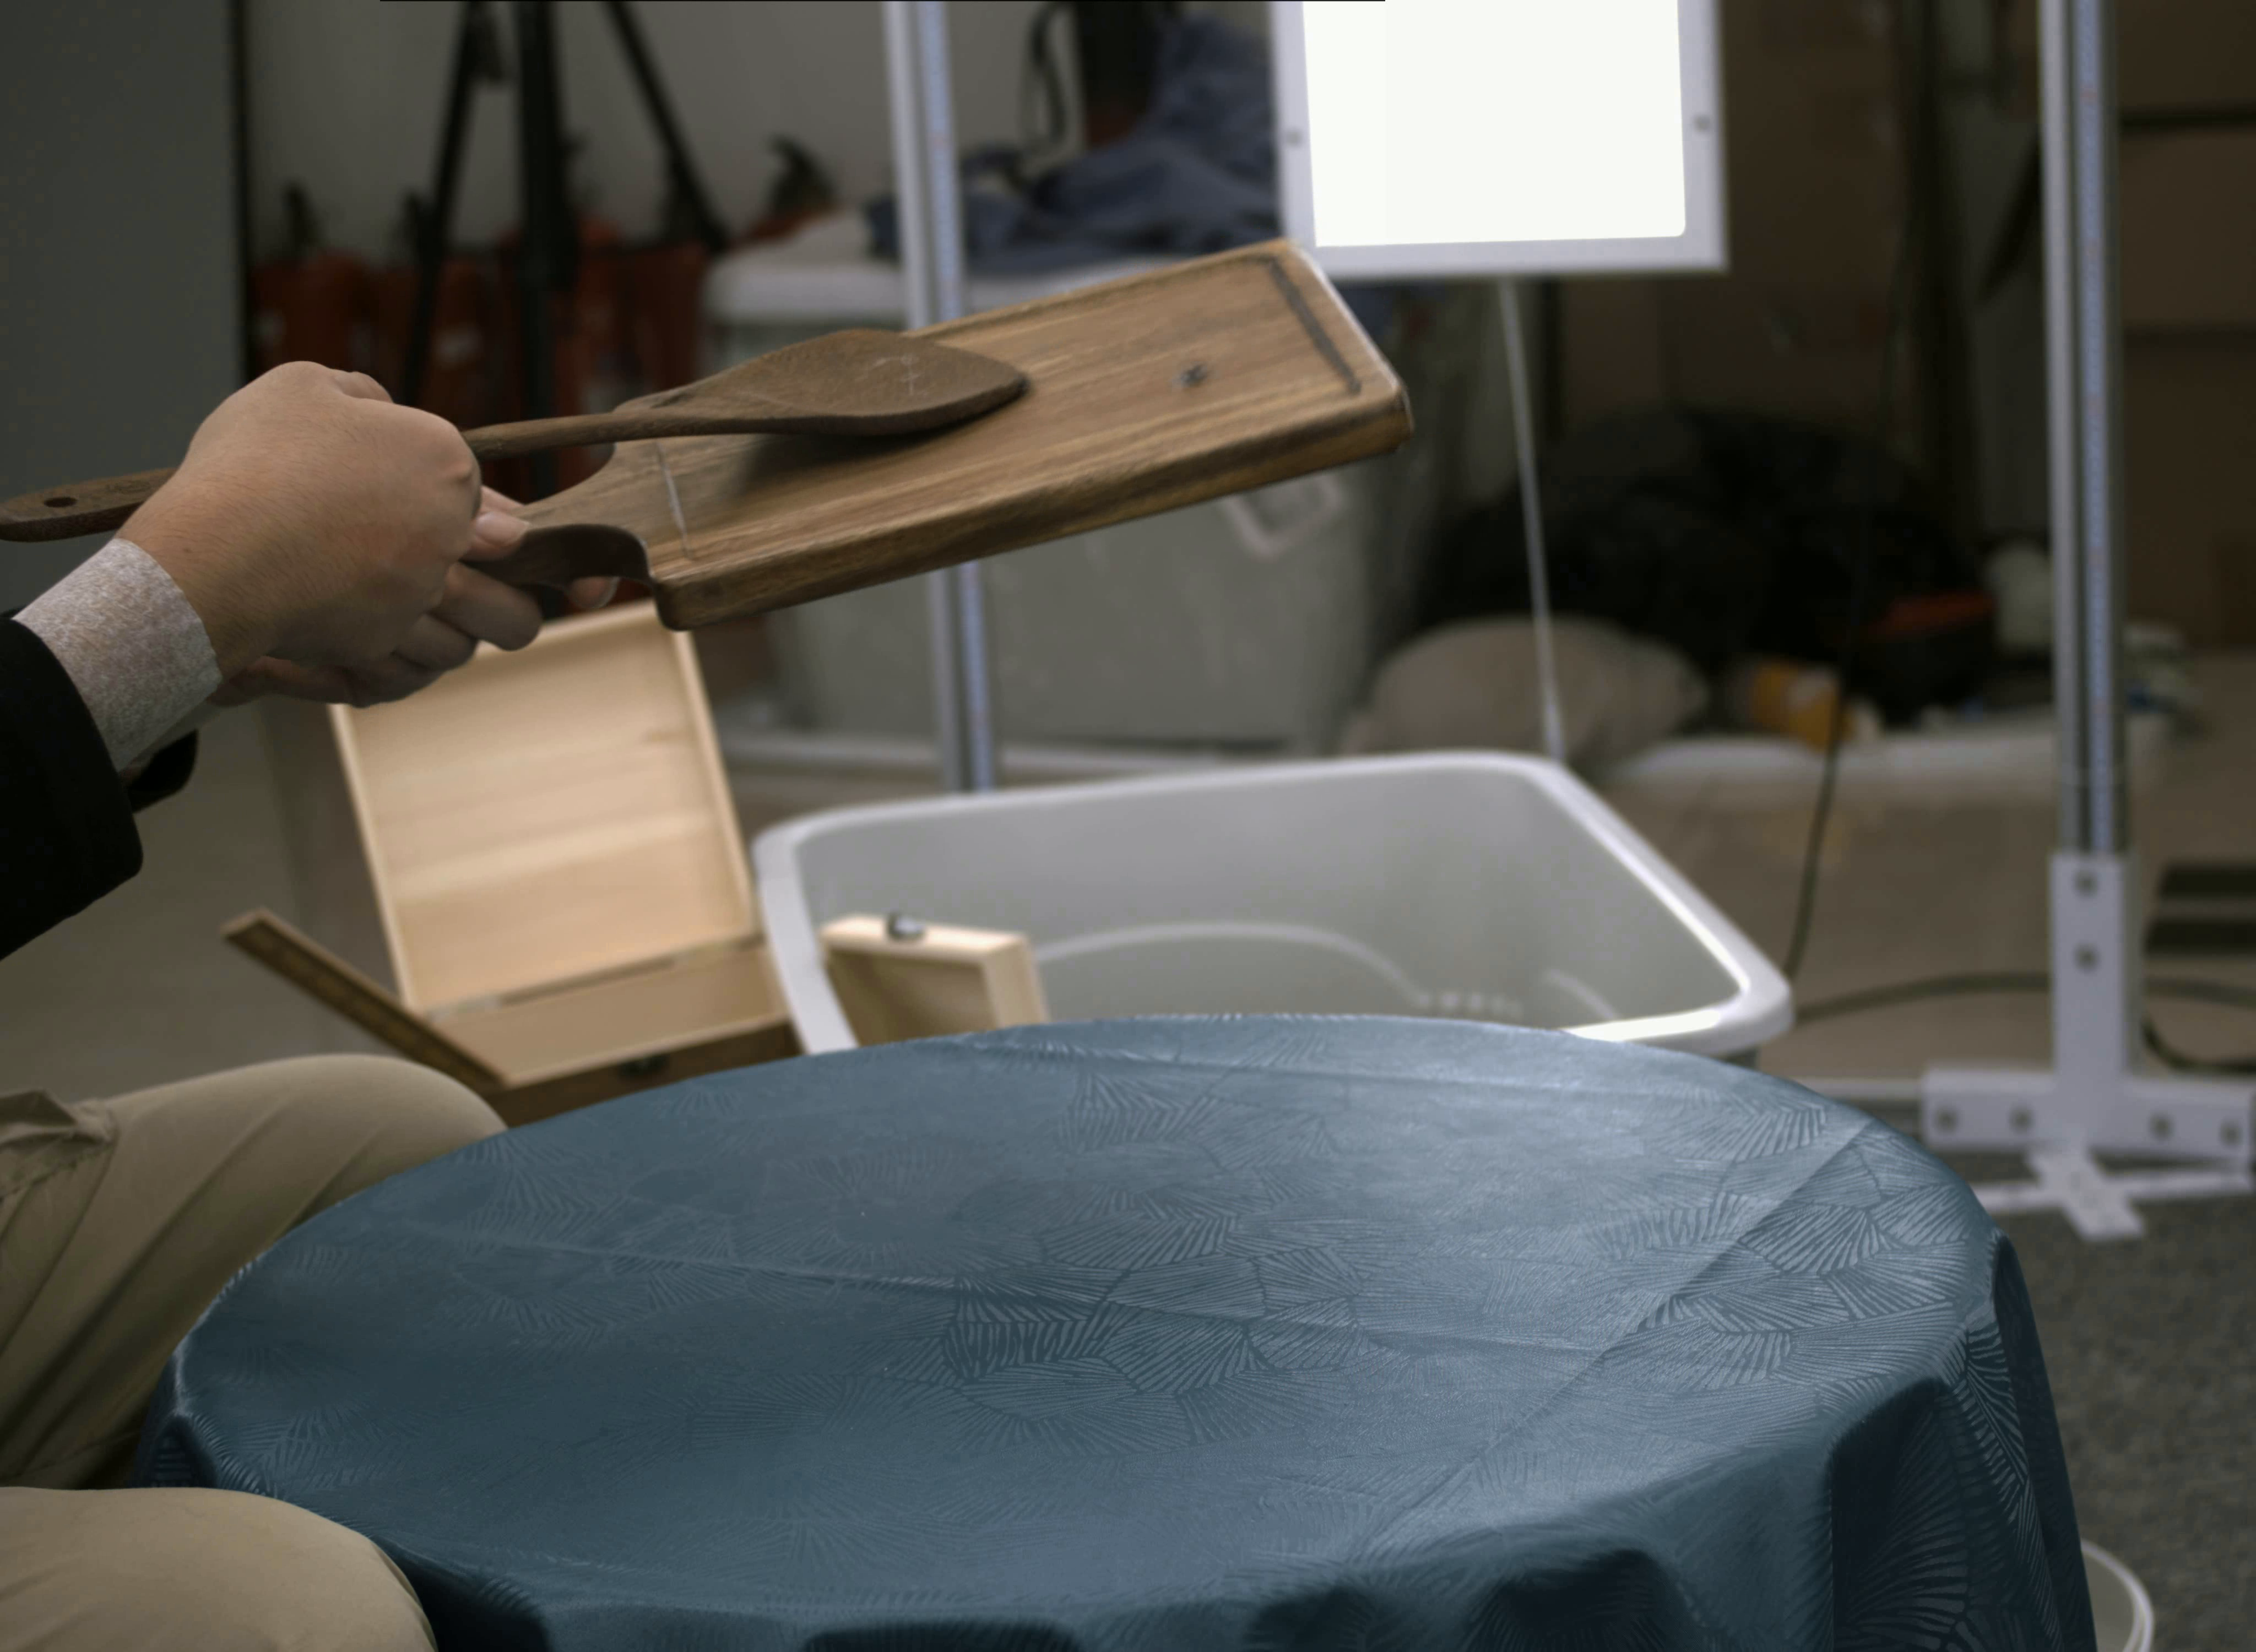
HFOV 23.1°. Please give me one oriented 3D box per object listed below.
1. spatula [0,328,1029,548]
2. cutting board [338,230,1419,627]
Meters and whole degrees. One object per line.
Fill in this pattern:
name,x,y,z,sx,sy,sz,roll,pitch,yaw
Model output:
spatula,-0.194,-0.125,1.766,0.376,0.016,0.098,-14,23,-39
cutting board,-0.091,-0.124,1.835,0.350,0.023,0.202,-16,22,-2
